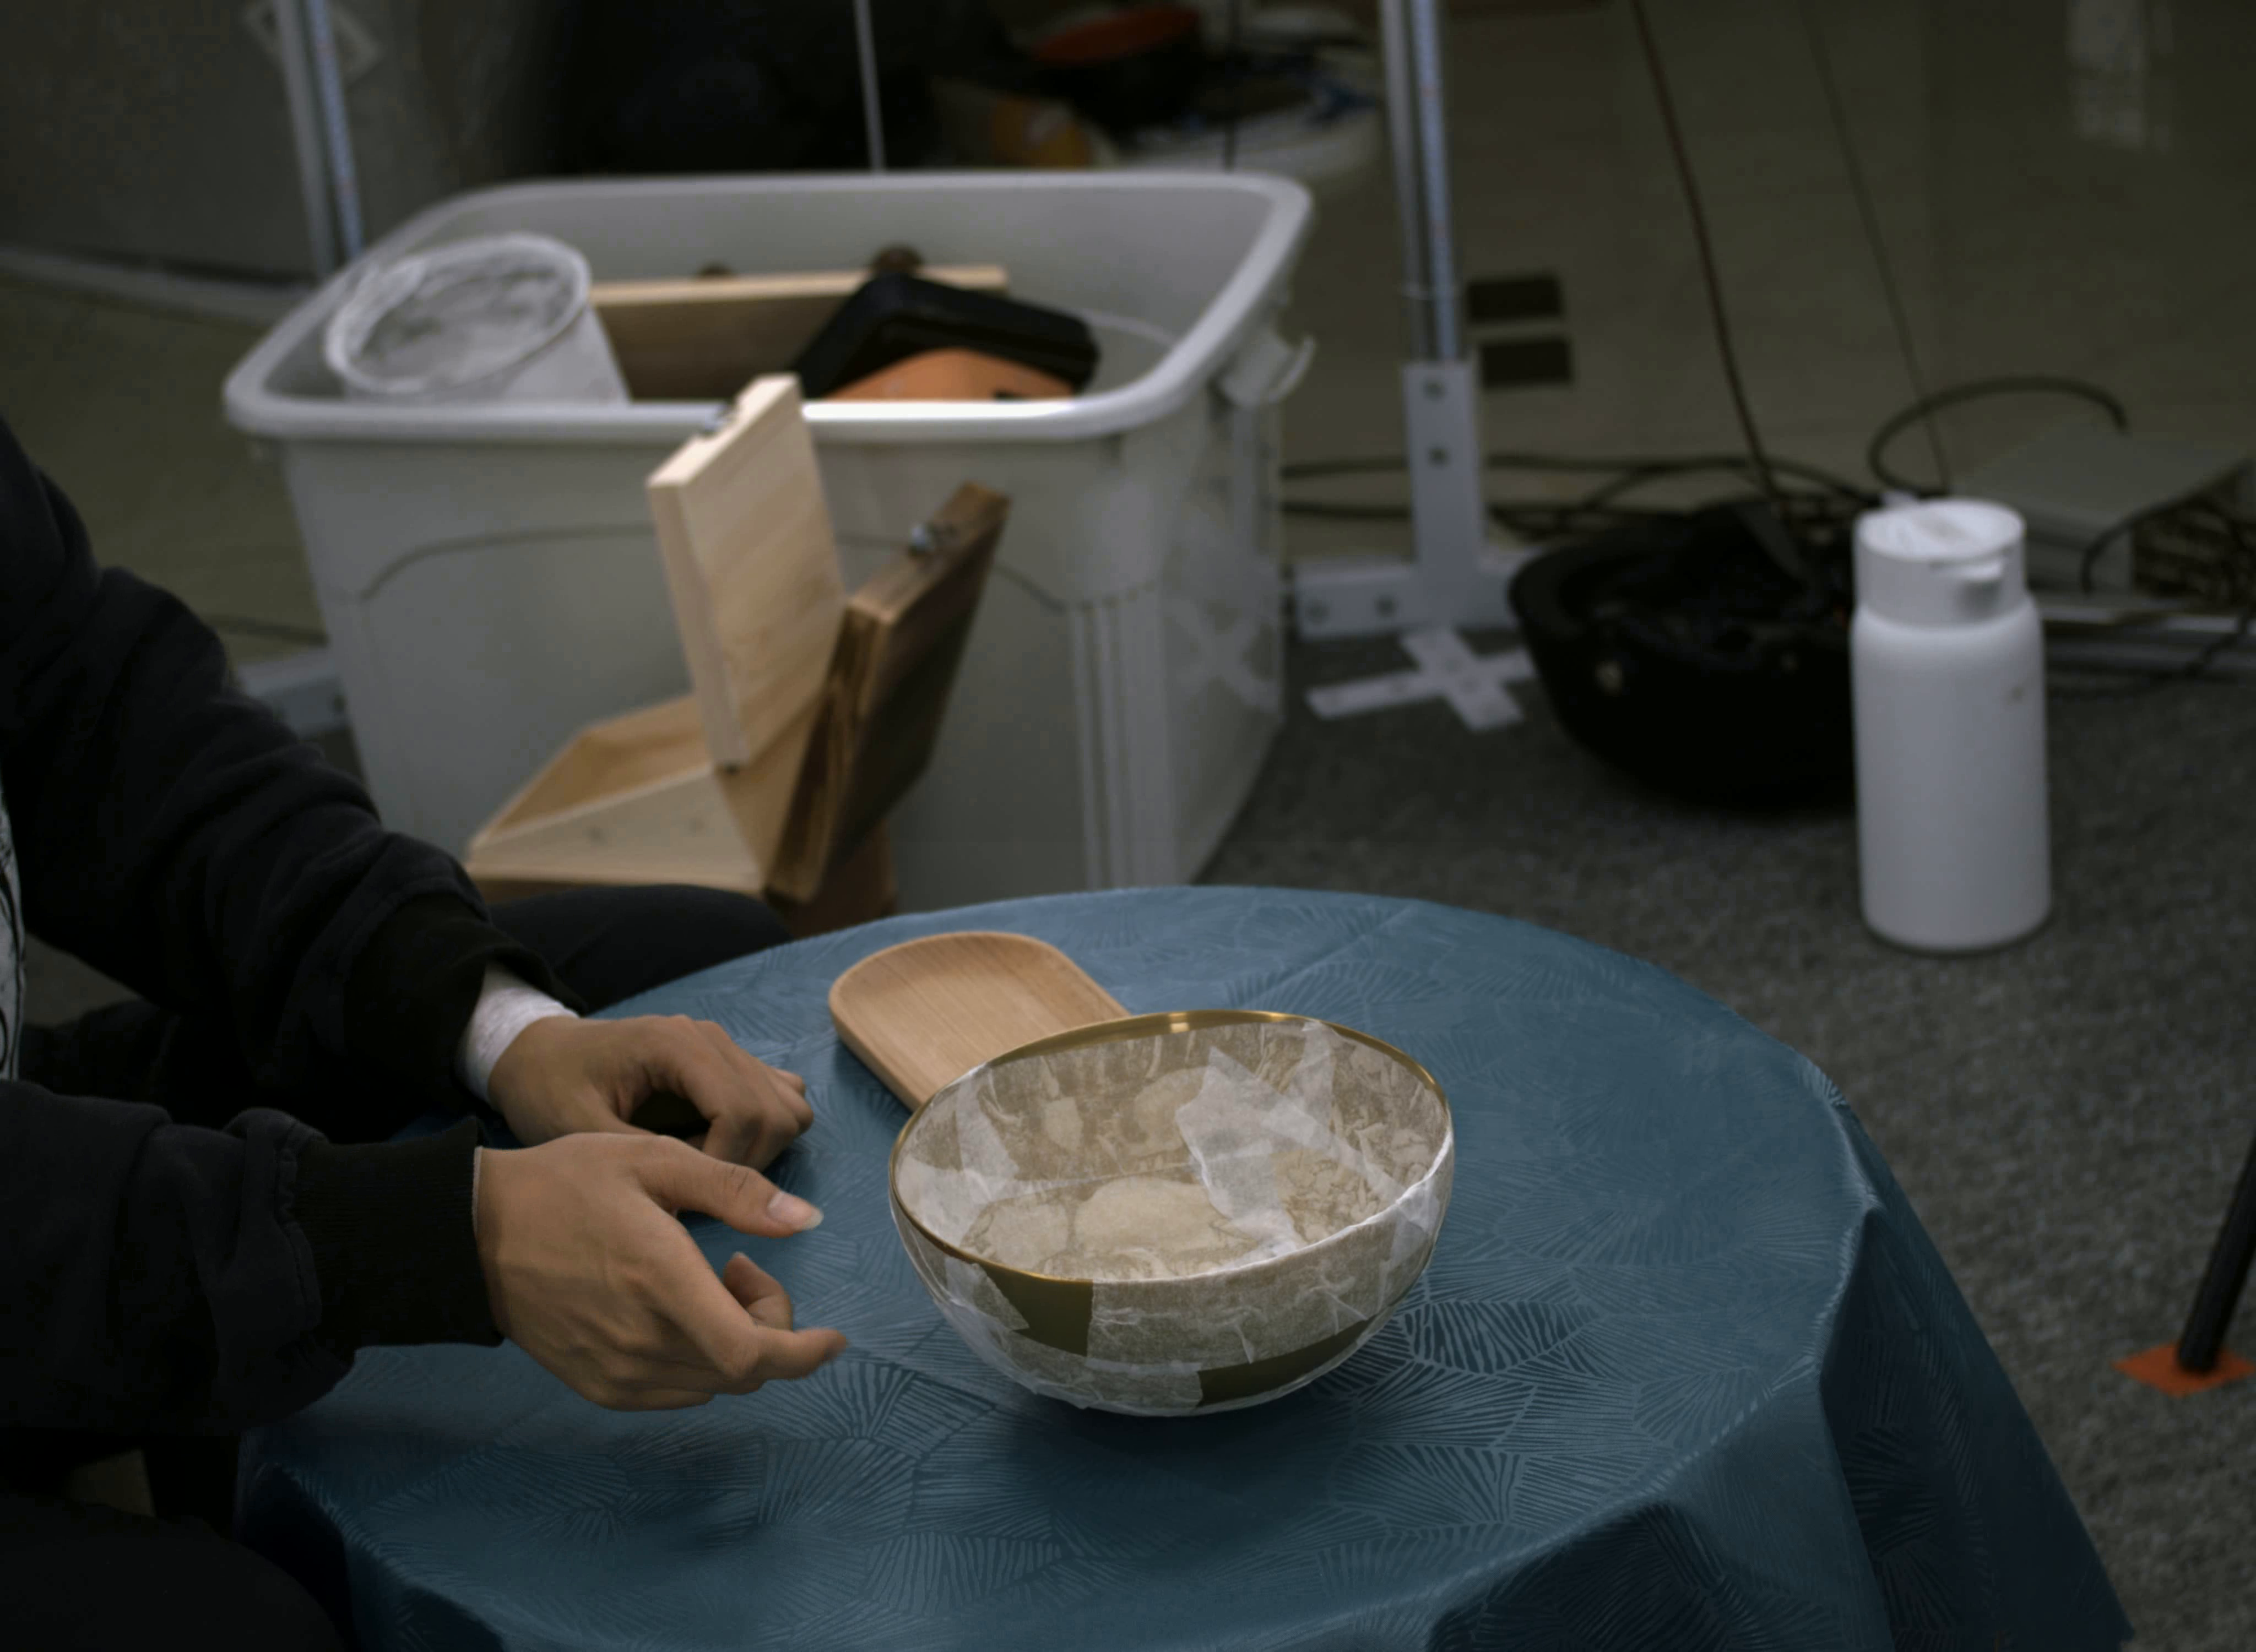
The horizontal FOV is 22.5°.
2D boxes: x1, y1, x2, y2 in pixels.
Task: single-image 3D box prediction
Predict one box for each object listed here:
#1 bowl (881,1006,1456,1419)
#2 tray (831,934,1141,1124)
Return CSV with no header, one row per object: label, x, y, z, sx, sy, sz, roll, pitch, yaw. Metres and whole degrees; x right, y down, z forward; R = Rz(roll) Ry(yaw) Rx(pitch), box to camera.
bowl,0.018,0.148,2.017,0.214,0.096,0.211,-6,26,3
tray,-0.041,0.095,2.239,0.101,0.020,0.228,-19,29,-20
